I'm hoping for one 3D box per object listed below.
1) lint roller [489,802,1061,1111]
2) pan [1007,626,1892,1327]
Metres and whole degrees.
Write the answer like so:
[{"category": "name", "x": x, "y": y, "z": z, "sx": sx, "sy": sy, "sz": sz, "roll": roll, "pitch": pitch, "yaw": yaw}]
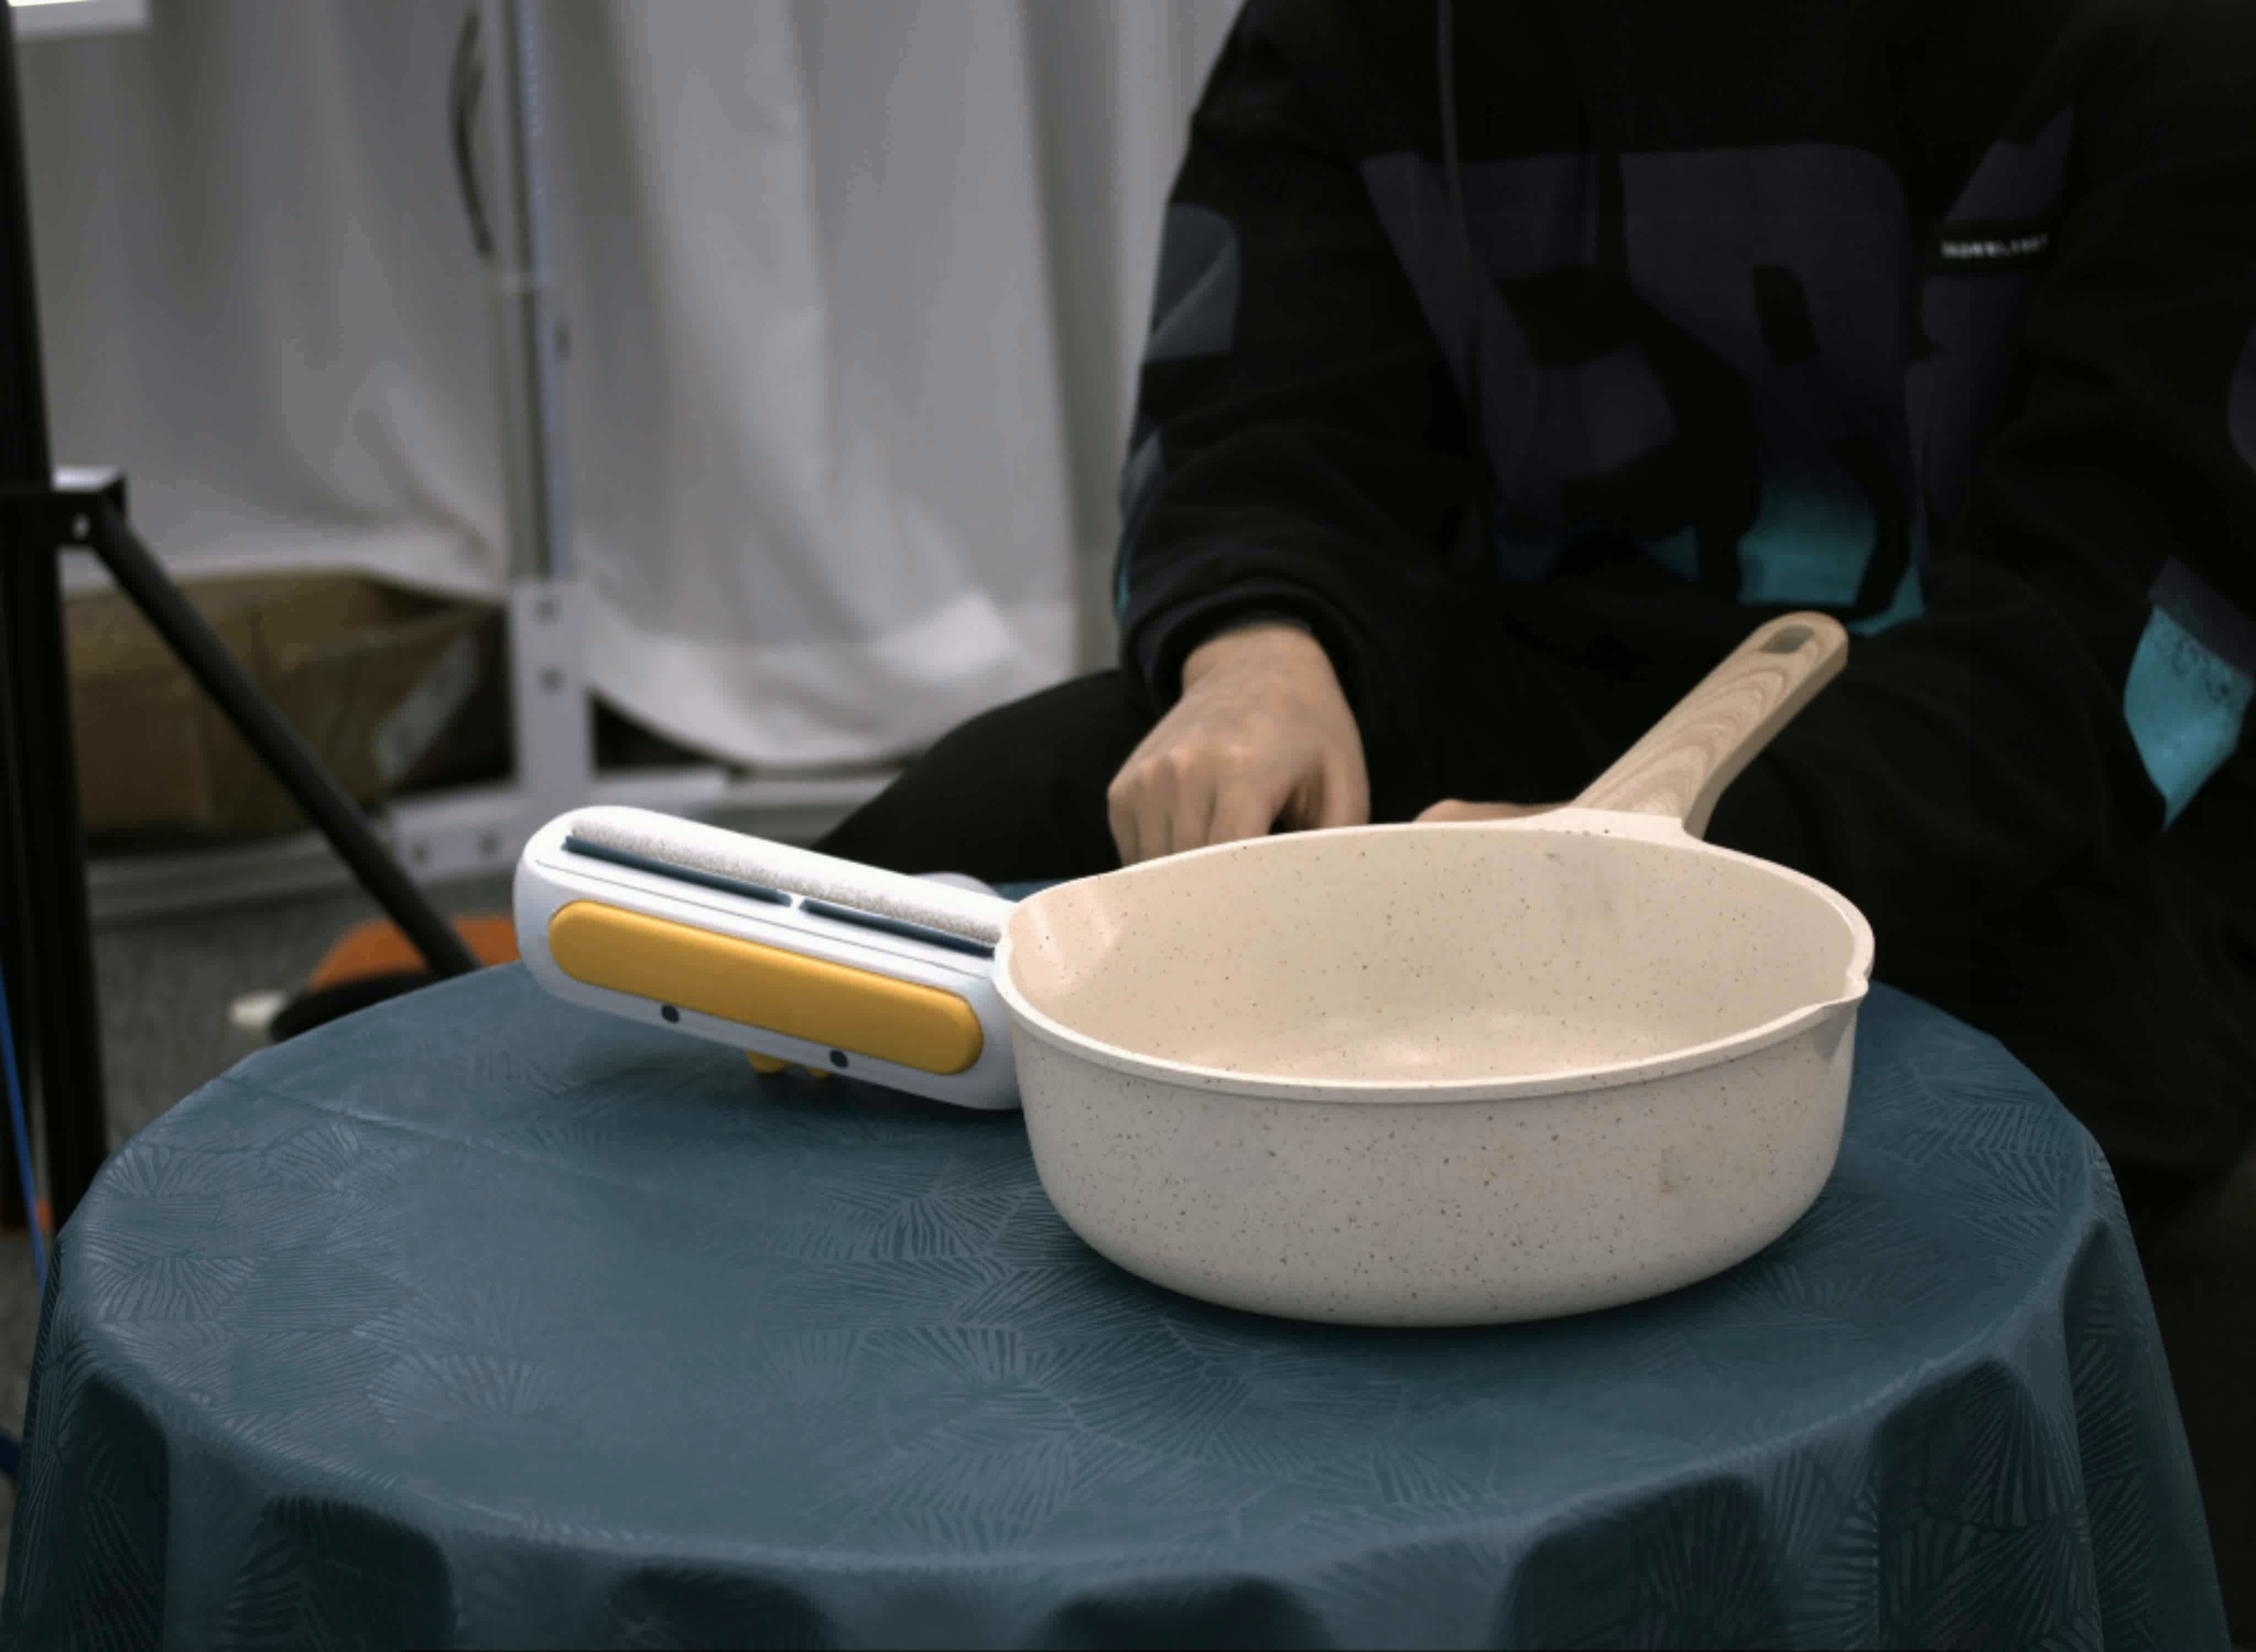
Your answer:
[{"category": "lint roller", "x": -0.085, "y": 0.033, "z": 1.716, "sx": 0.195, "sy": 0.074, "sz": 0.189, "roll": 10, "pitch": 18, "yaw": 23}, {"category": "pan", "x": 0.133, "y": 0.041, "z": 1.588, "sx": 0.268, "sy": 0.102, "sz": 0.428, "roll": 3, "pitch": 17, "yaw": 28}]
